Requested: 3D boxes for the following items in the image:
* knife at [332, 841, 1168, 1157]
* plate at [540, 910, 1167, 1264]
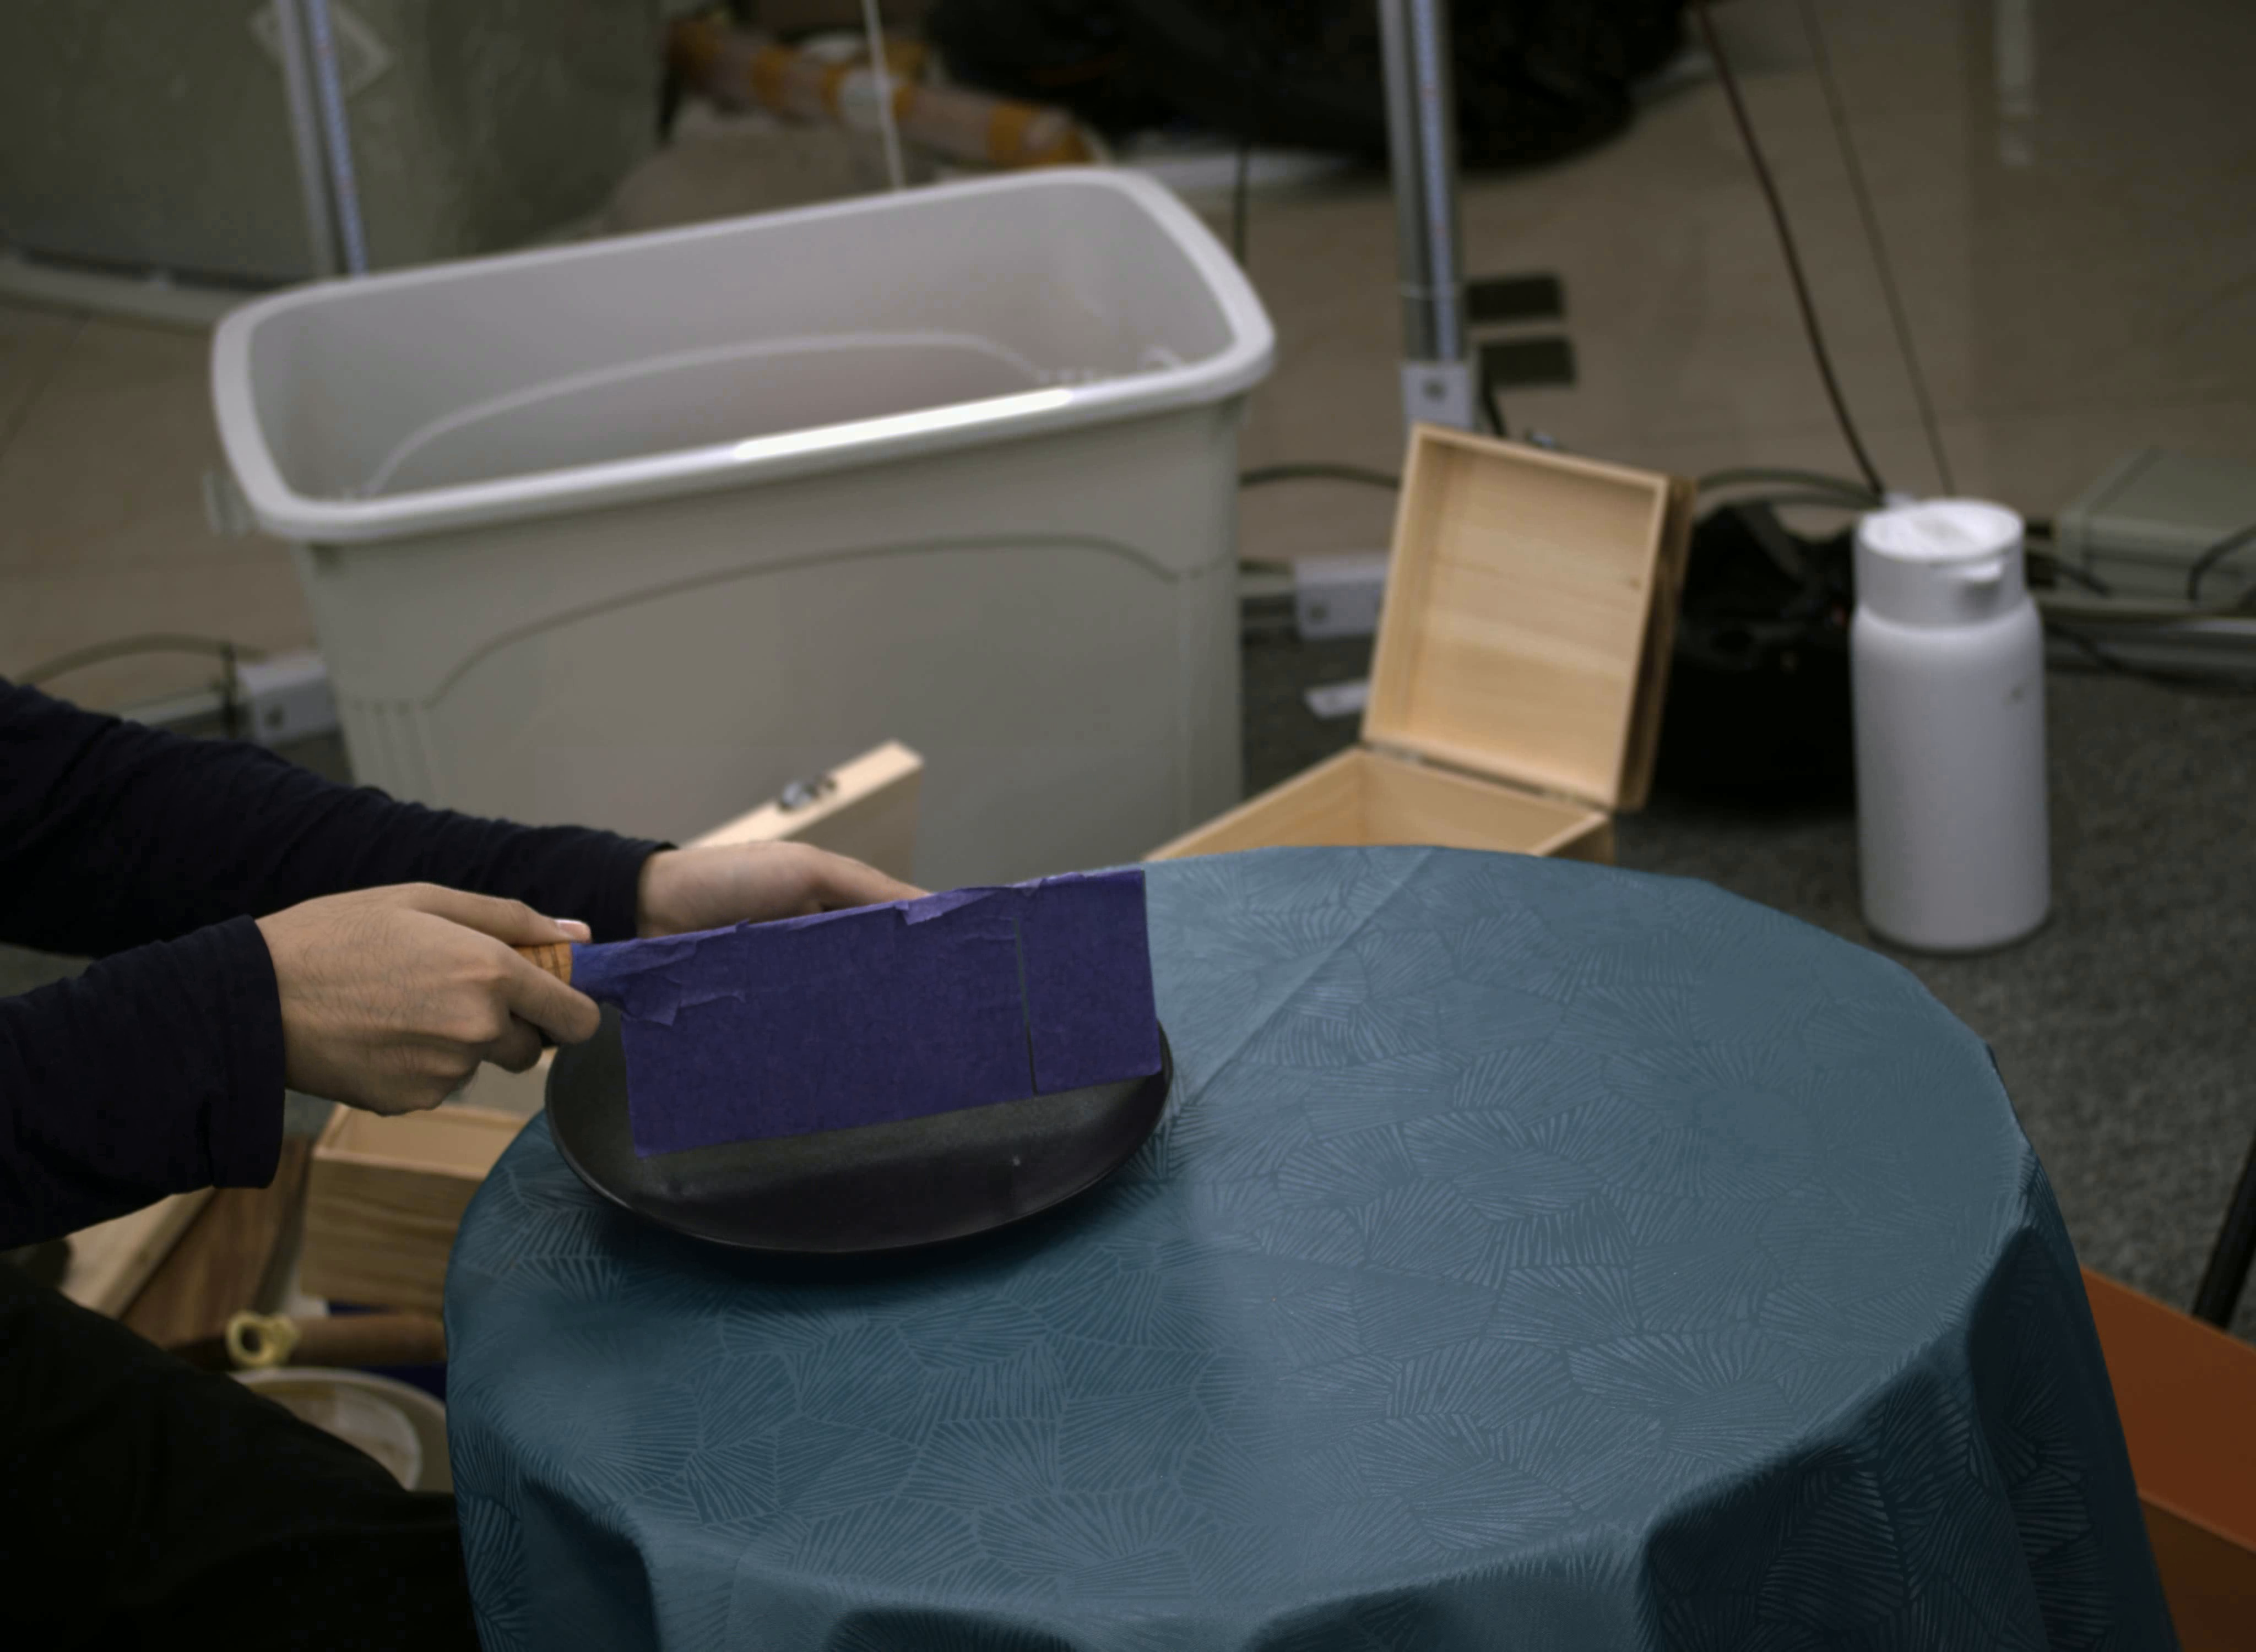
[{"bbox_3d":[-0.138,0.078,2.139,0.314,0.105,0.032,-9,24,-9],"label":"knife"},{"bbox_3d":[-0.106,0.104,2.198,0.244,0.024,0.240,-2,32,1],"label":"plate"}]
